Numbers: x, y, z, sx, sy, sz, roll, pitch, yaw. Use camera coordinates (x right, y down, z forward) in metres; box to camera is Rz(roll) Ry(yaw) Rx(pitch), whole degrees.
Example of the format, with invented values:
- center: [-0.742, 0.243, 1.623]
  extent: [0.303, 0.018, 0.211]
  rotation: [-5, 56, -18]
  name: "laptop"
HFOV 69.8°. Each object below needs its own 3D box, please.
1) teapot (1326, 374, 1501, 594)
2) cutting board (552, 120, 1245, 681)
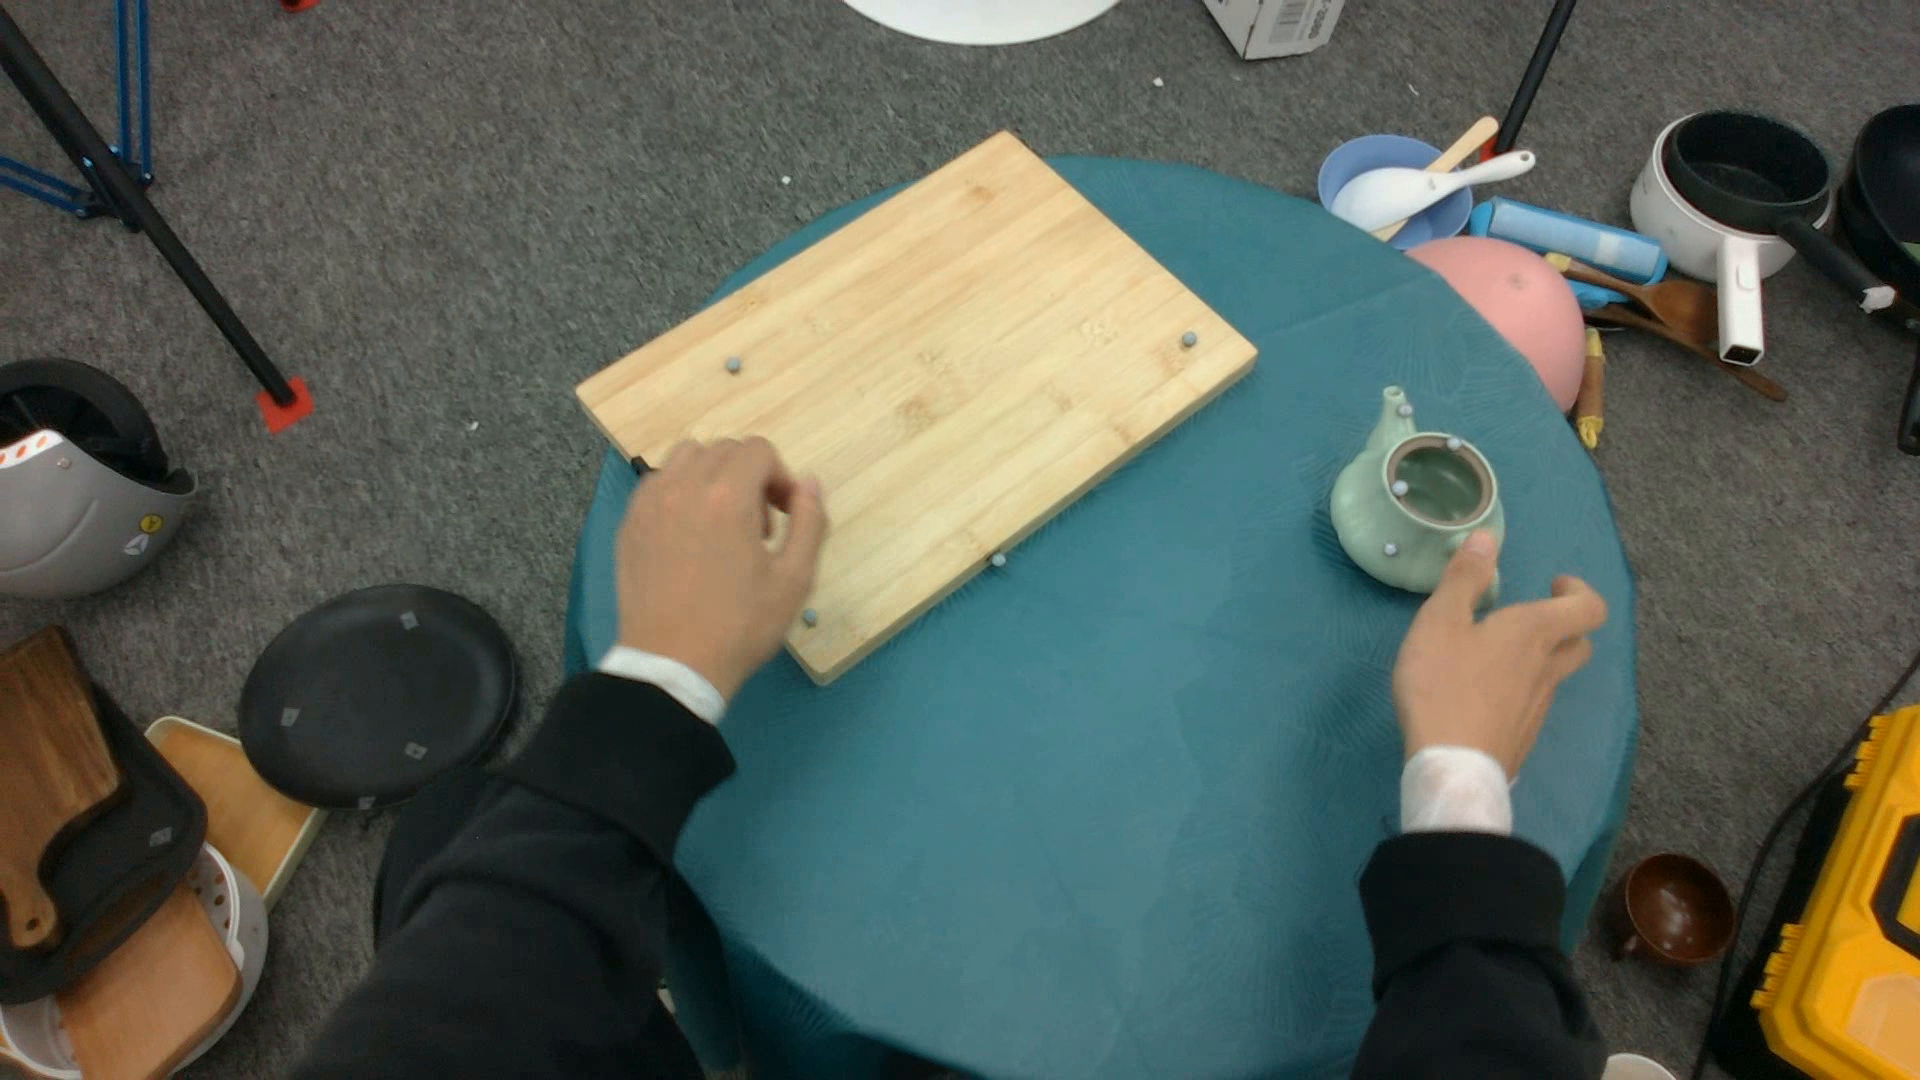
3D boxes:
- center: [0.260, -0.025, 0.775]
  extent: [0.096, 0.061, 0.137]
  rotation: [-15, 62, -12]
  name: "teapot"
- center: [-0.031, -0.102, 0.834]
  extent: [0.350, 0.023, 0.251]
  rotation: [-37, 68, -20]
  name: "cutting board"
